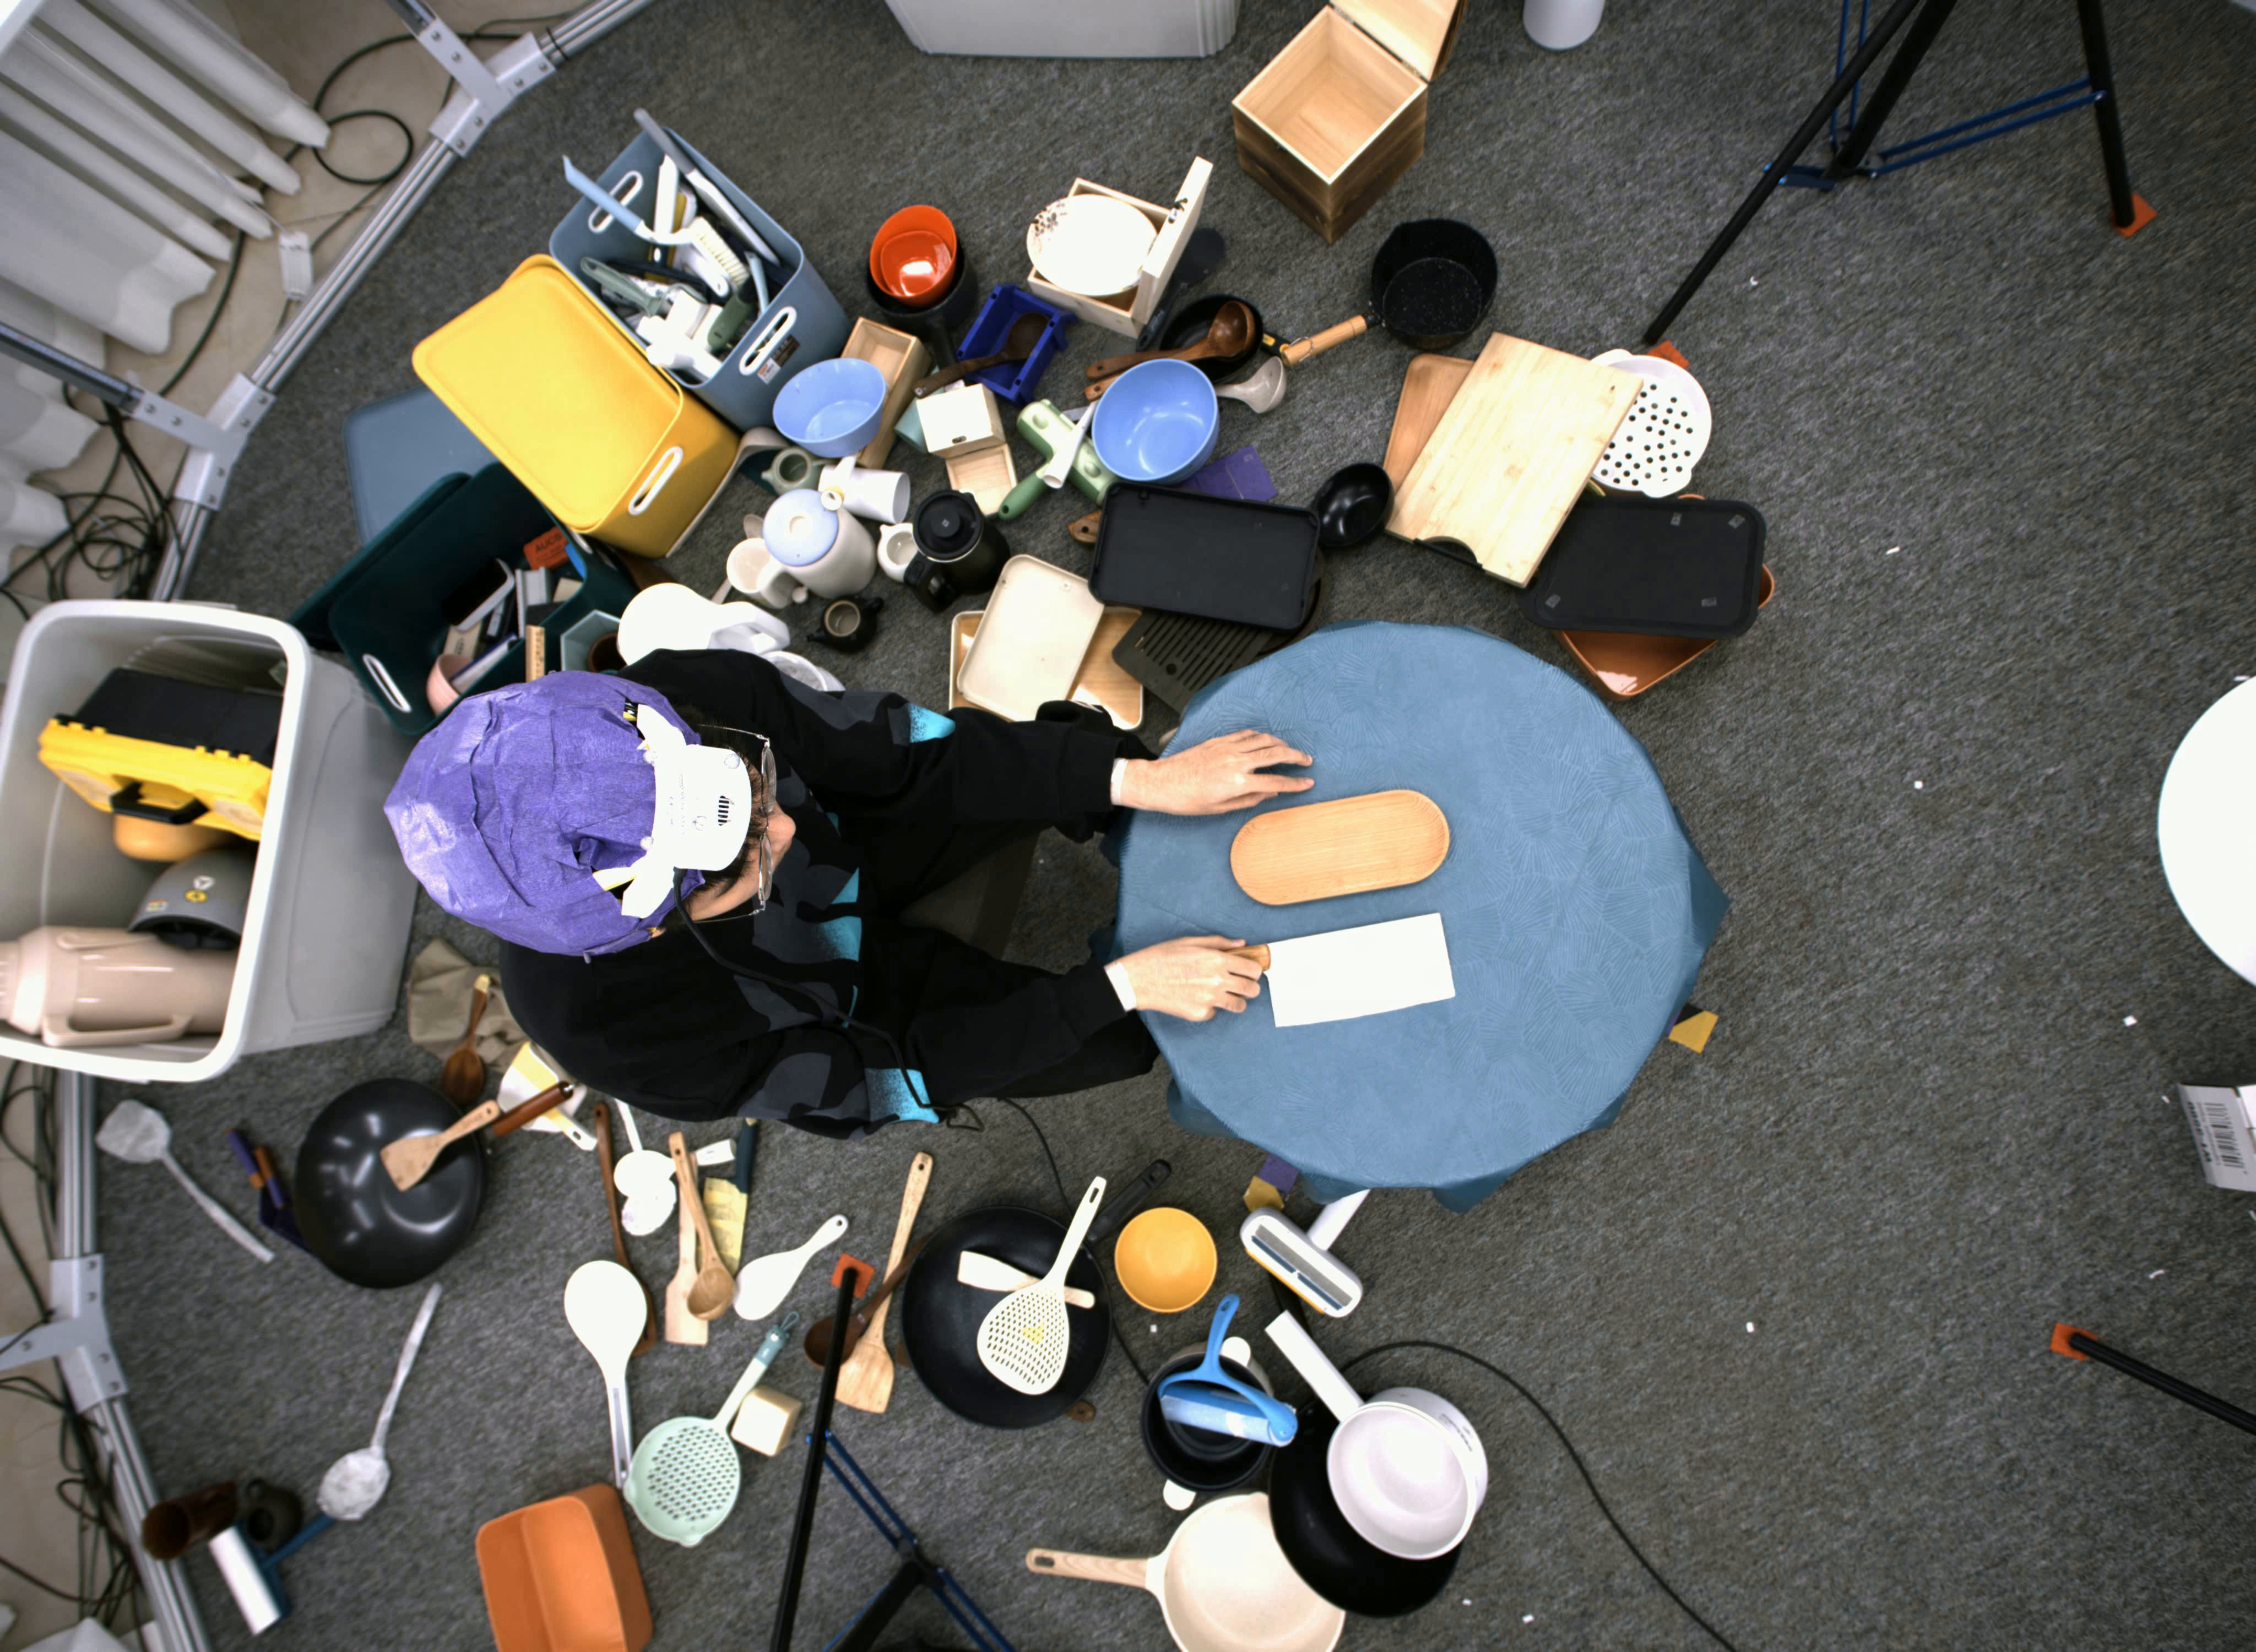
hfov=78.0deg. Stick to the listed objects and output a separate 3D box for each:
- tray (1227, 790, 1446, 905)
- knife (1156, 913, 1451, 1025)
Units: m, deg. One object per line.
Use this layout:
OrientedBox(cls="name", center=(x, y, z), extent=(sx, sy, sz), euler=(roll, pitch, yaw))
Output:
OrientedBox(cls="tray", center=(0.220, 0.023, 1.463), extent=(0.232, 0.020, 0.101), euler=(-10, 84, 11))
OrientedBox(cls="knife", center=(0.185, 0.159, 1.462), extent=(0.307, 0.021, 0.093), euler=(-11, 93, 9))
